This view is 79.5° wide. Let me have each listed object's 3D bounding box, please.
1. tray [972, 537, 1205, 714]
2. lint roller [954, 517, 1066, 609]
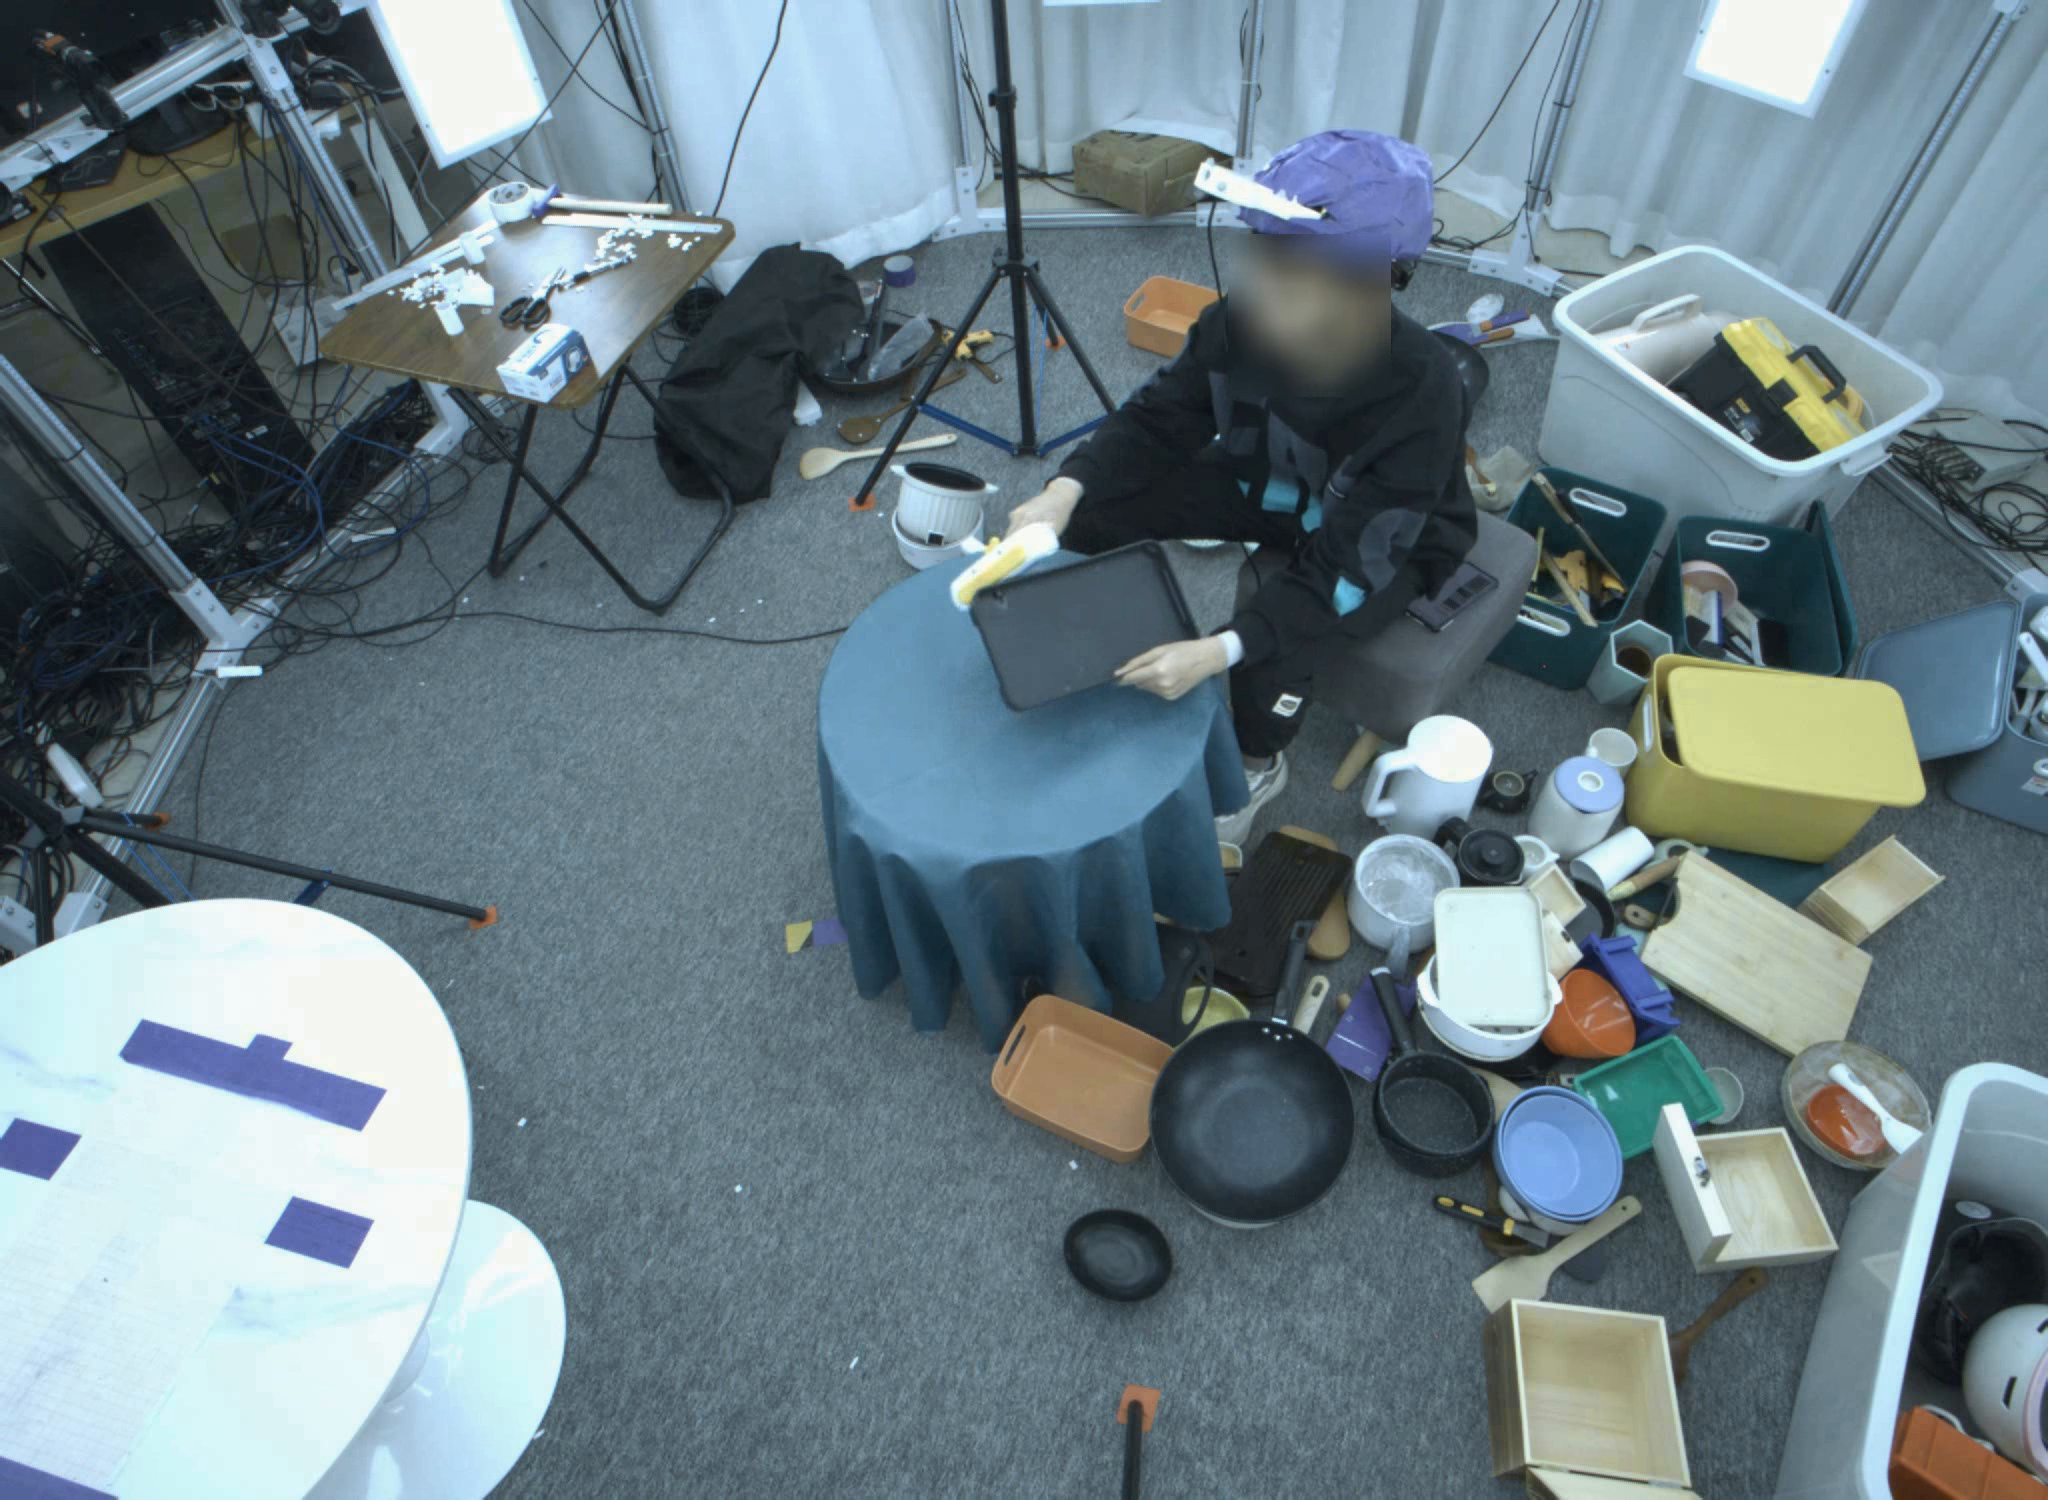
[{"bbox_3d":[0.094,-0.181,1.769,0.322,0.036,0.184,-21,86,-23],"label":"tray"},{"bbox_3d":[-0.003,-0.293,1.804,0.074,0.191,0.194,51,35,-3],"label":"lint roller"}]
